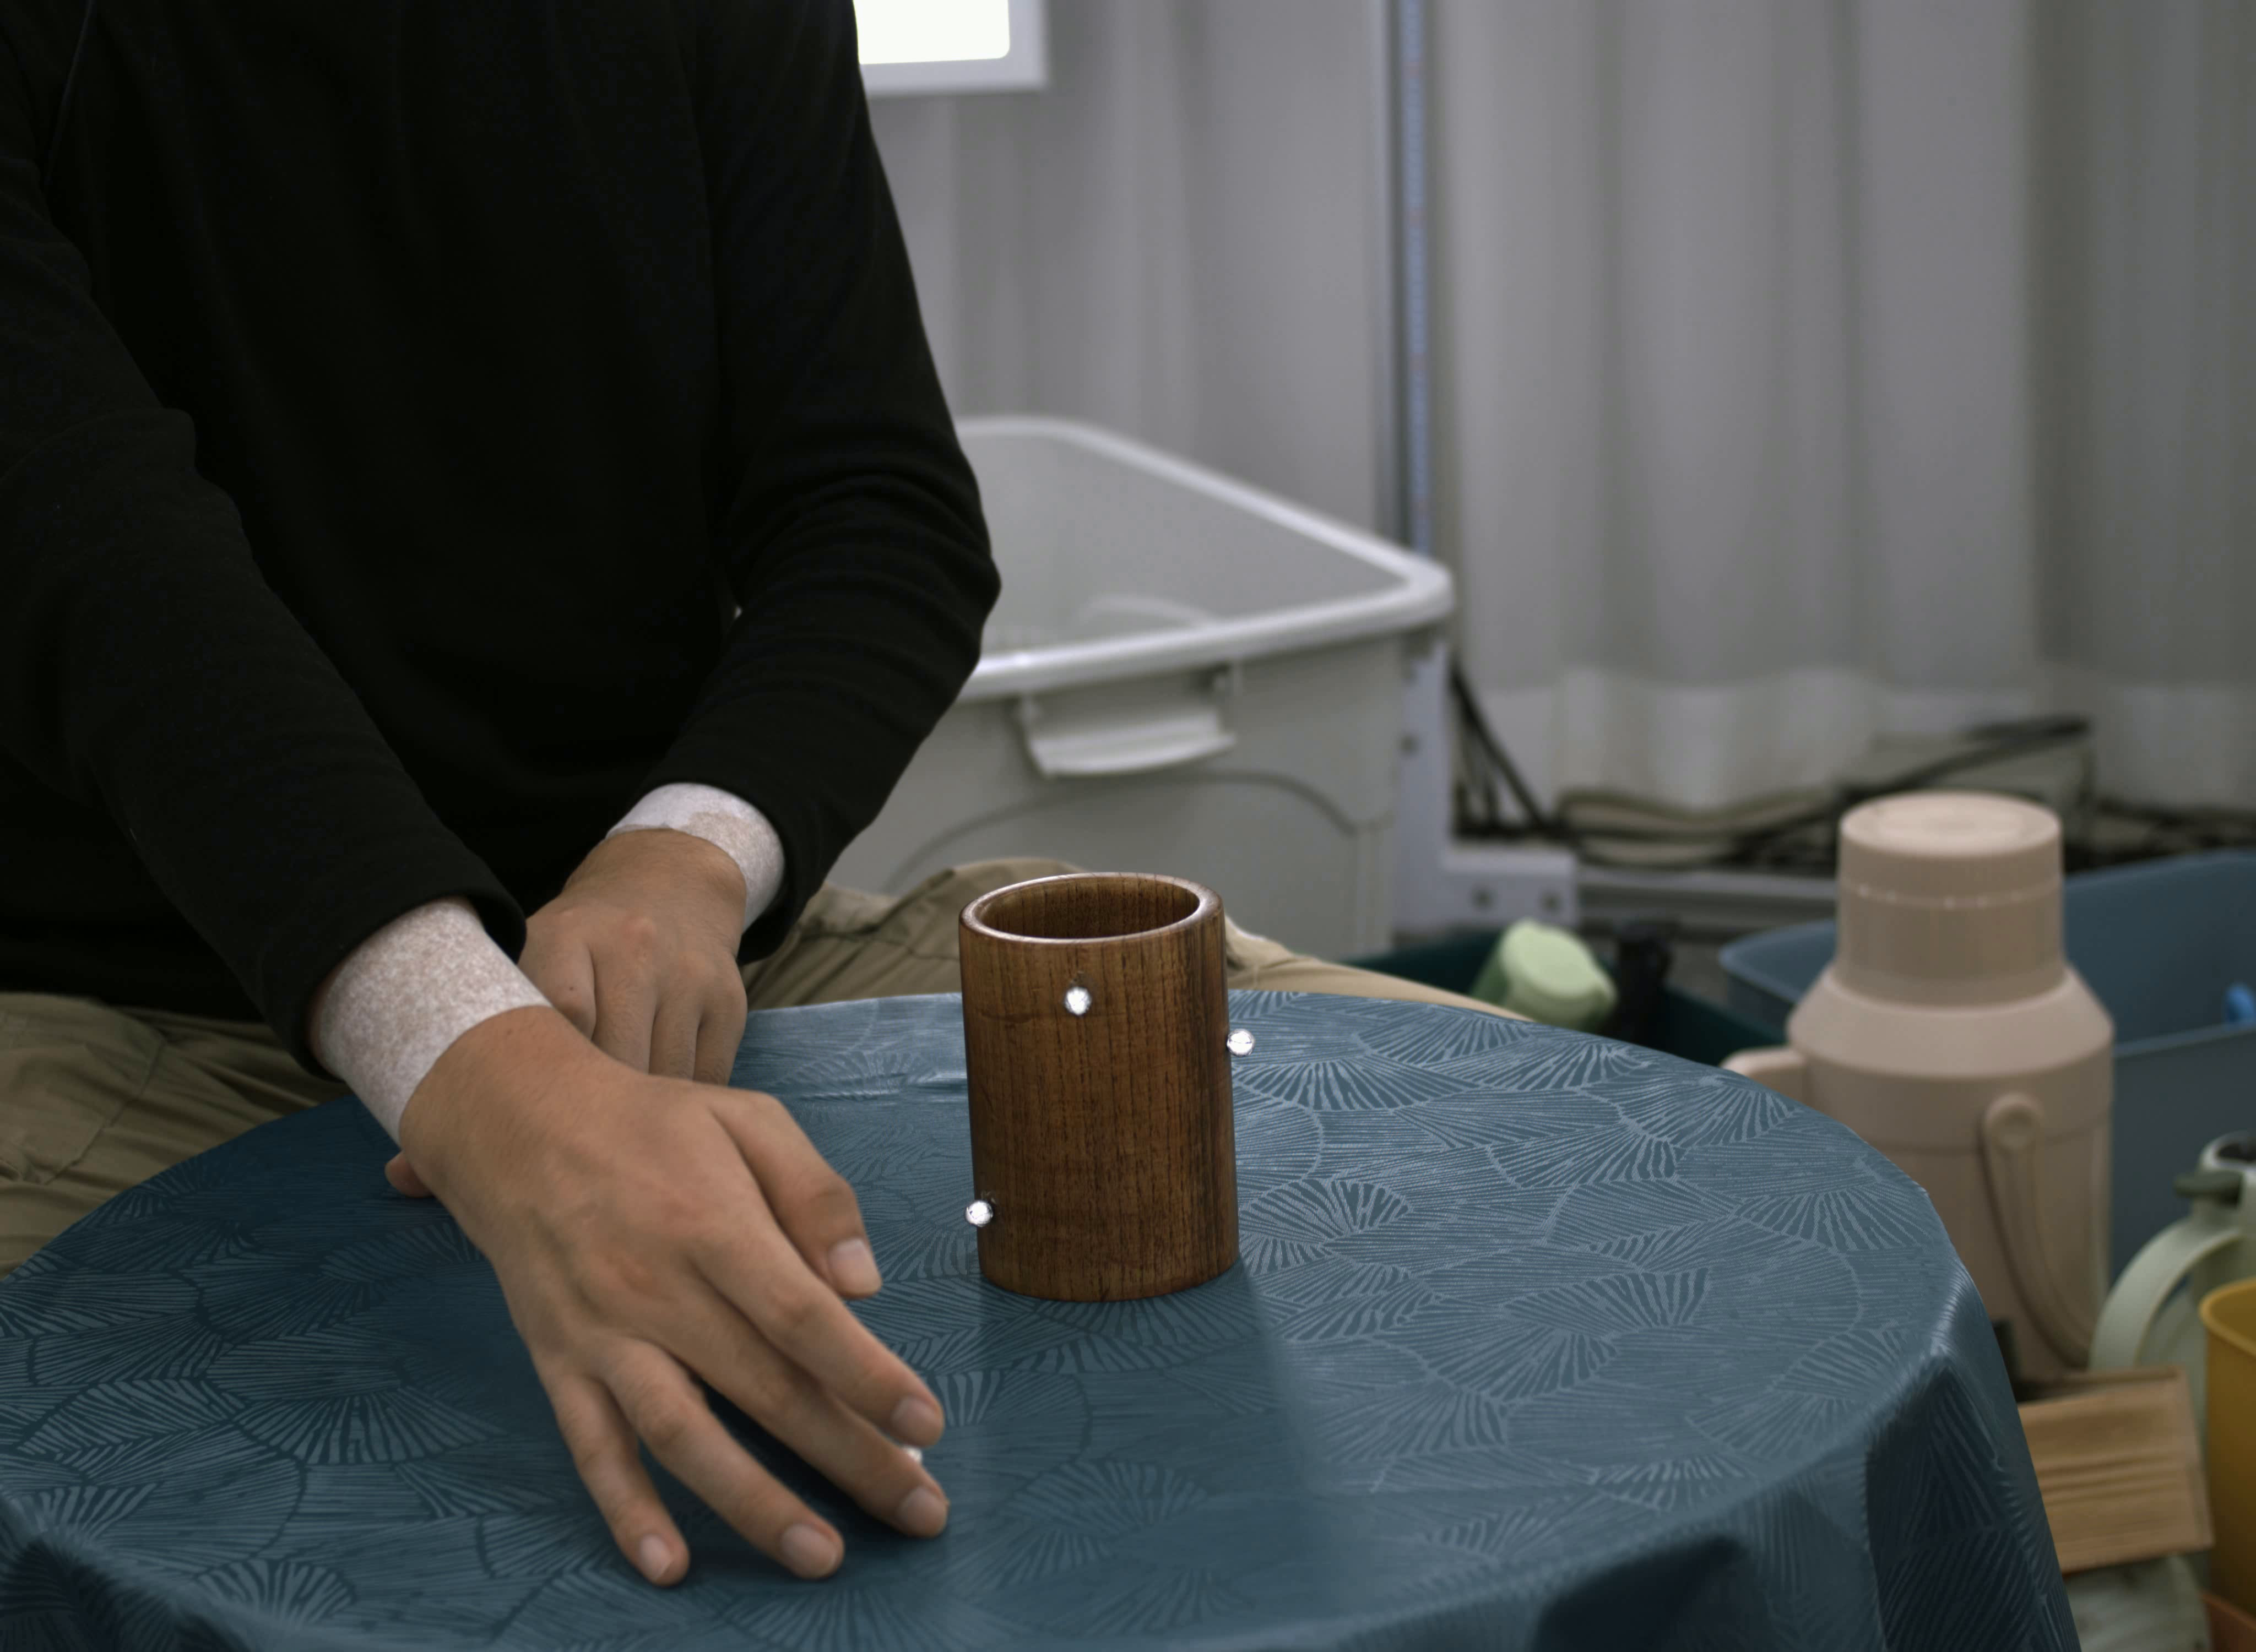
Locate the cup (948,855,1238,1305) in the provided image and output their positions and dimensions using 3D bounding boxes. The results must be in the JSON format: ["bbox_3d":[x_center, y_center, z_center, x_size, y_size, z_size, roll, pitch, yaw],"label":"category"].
[{"bbox_3d":[-0.009,0.075,1.639,0.087,0.118,0.088,-2,13,0],"label":"cup"}]

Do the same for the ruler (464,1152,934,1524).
[{"bbox_3d":[-0.131,0.143,1.600,0.027,0.022,0.334,16,5,-27],"label":"ruler"}]
